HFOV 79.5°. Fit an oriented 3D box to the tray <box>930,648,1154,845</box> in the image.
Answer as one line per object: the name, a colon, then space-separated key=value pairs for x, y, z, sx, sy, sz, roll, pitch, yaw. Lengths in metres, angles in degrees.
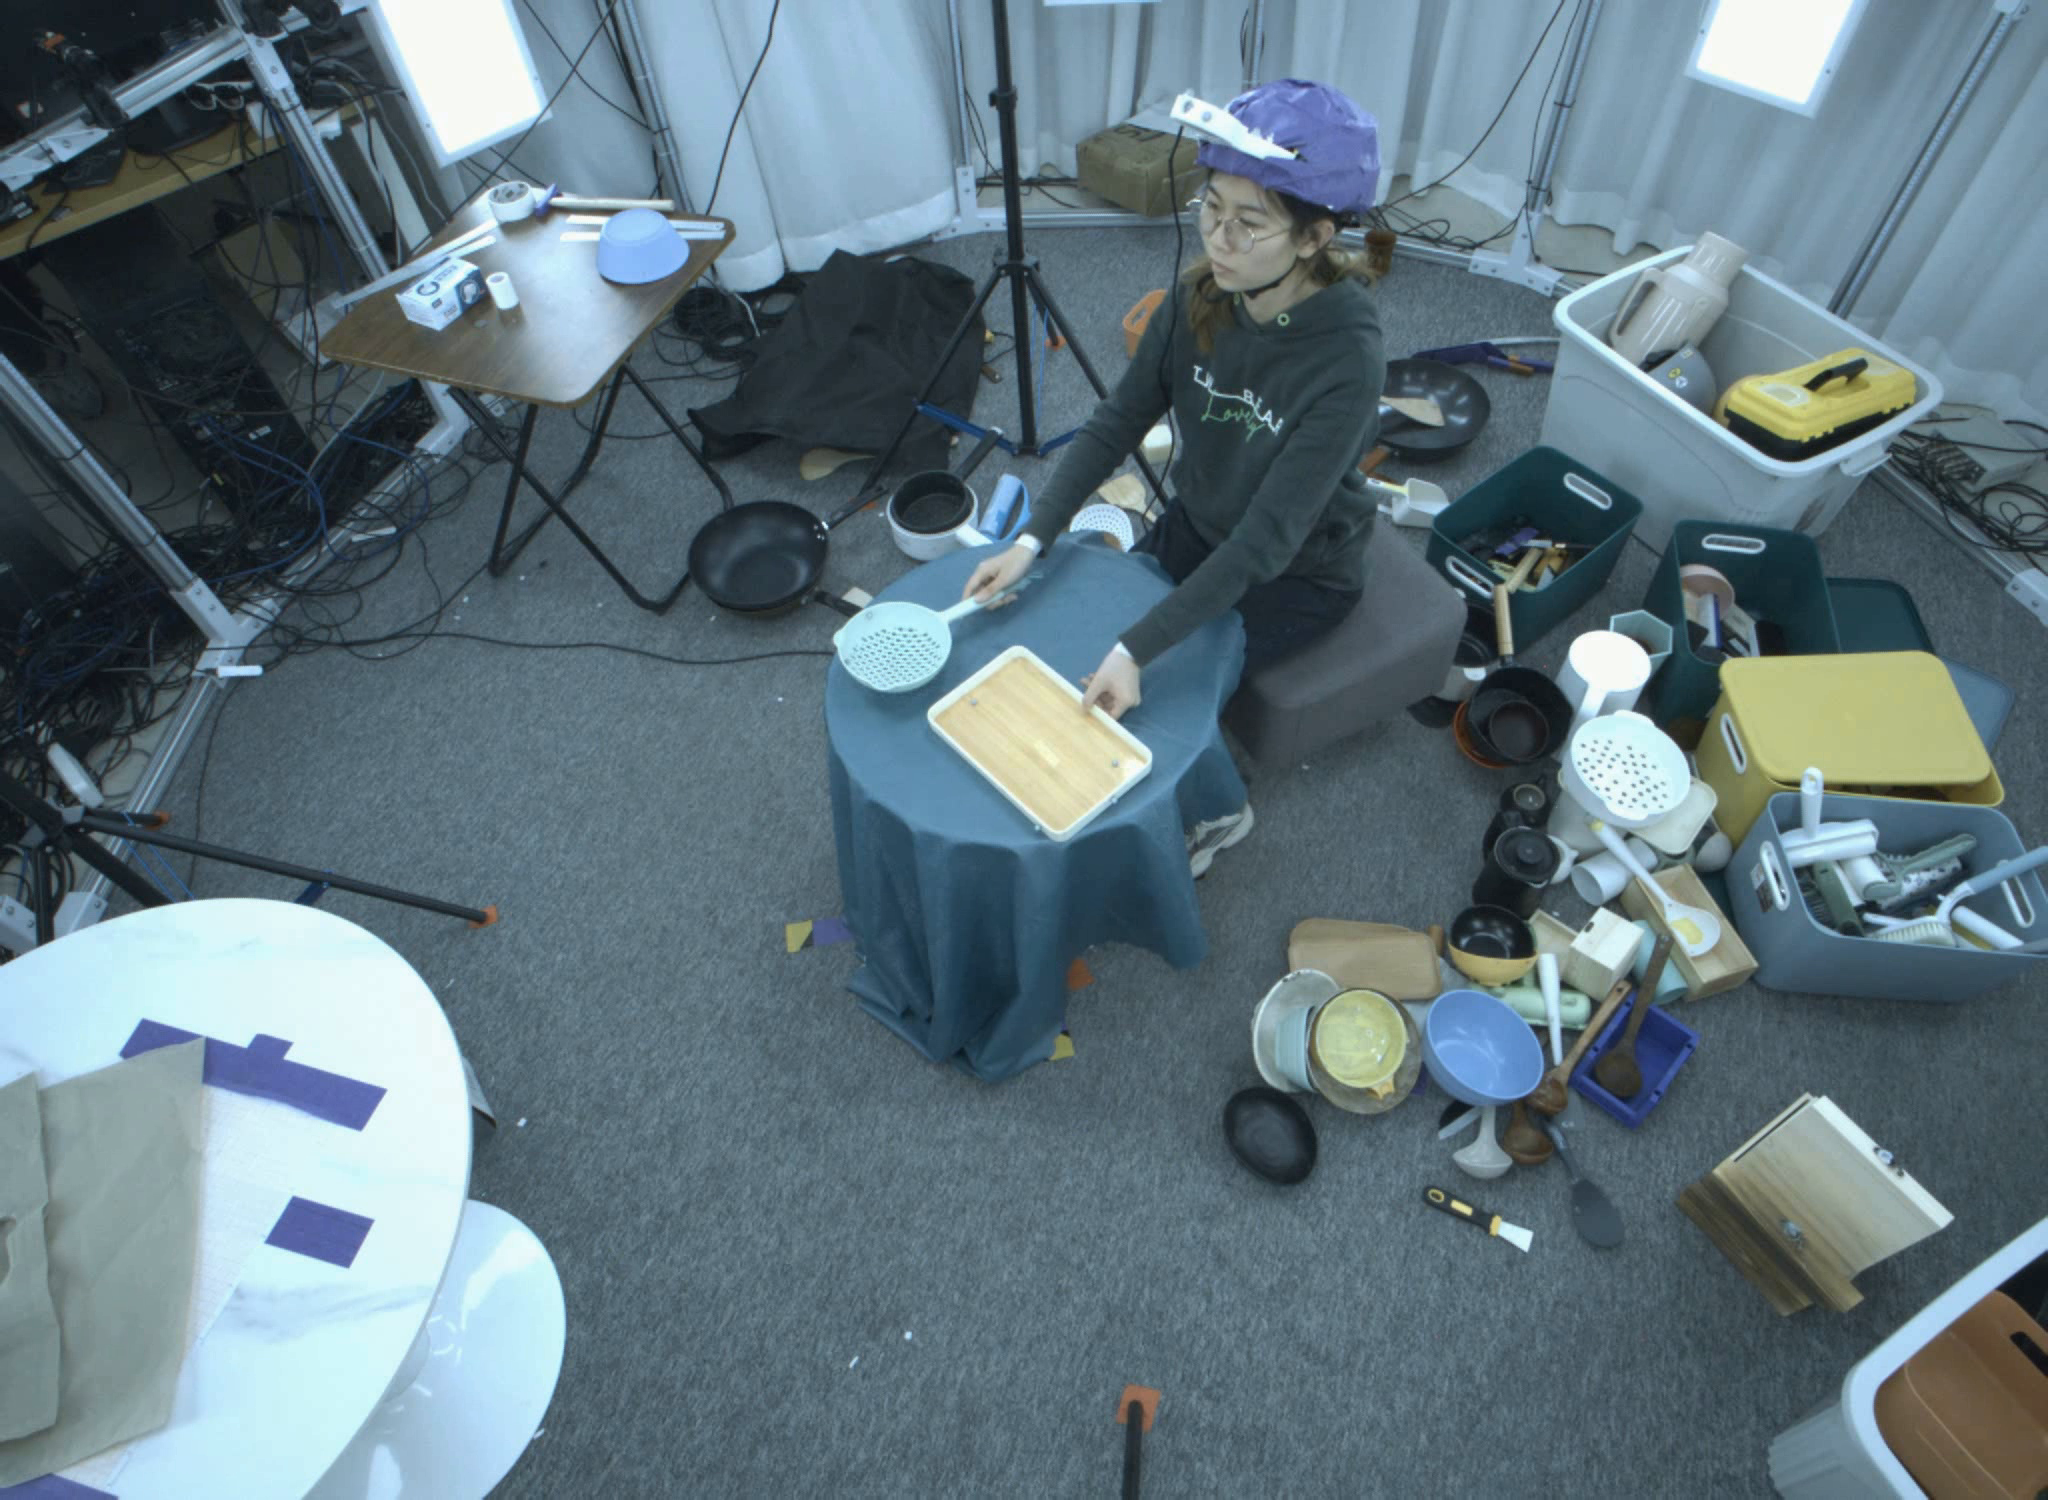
tray: x=0.023 y=-0.011 z=1.782 sx=0.193 sy=0.028 sz=0.295 roll=-39 pitch=63 yaw=-19

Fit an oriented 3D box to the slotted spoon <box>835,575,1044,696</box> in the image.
slotted spoon: x=-0.116 y=-0.196 z=1.893 sx=0.361 sy=0.076 sz=0.166 roll=-35 pitch=63 yaw=-17
